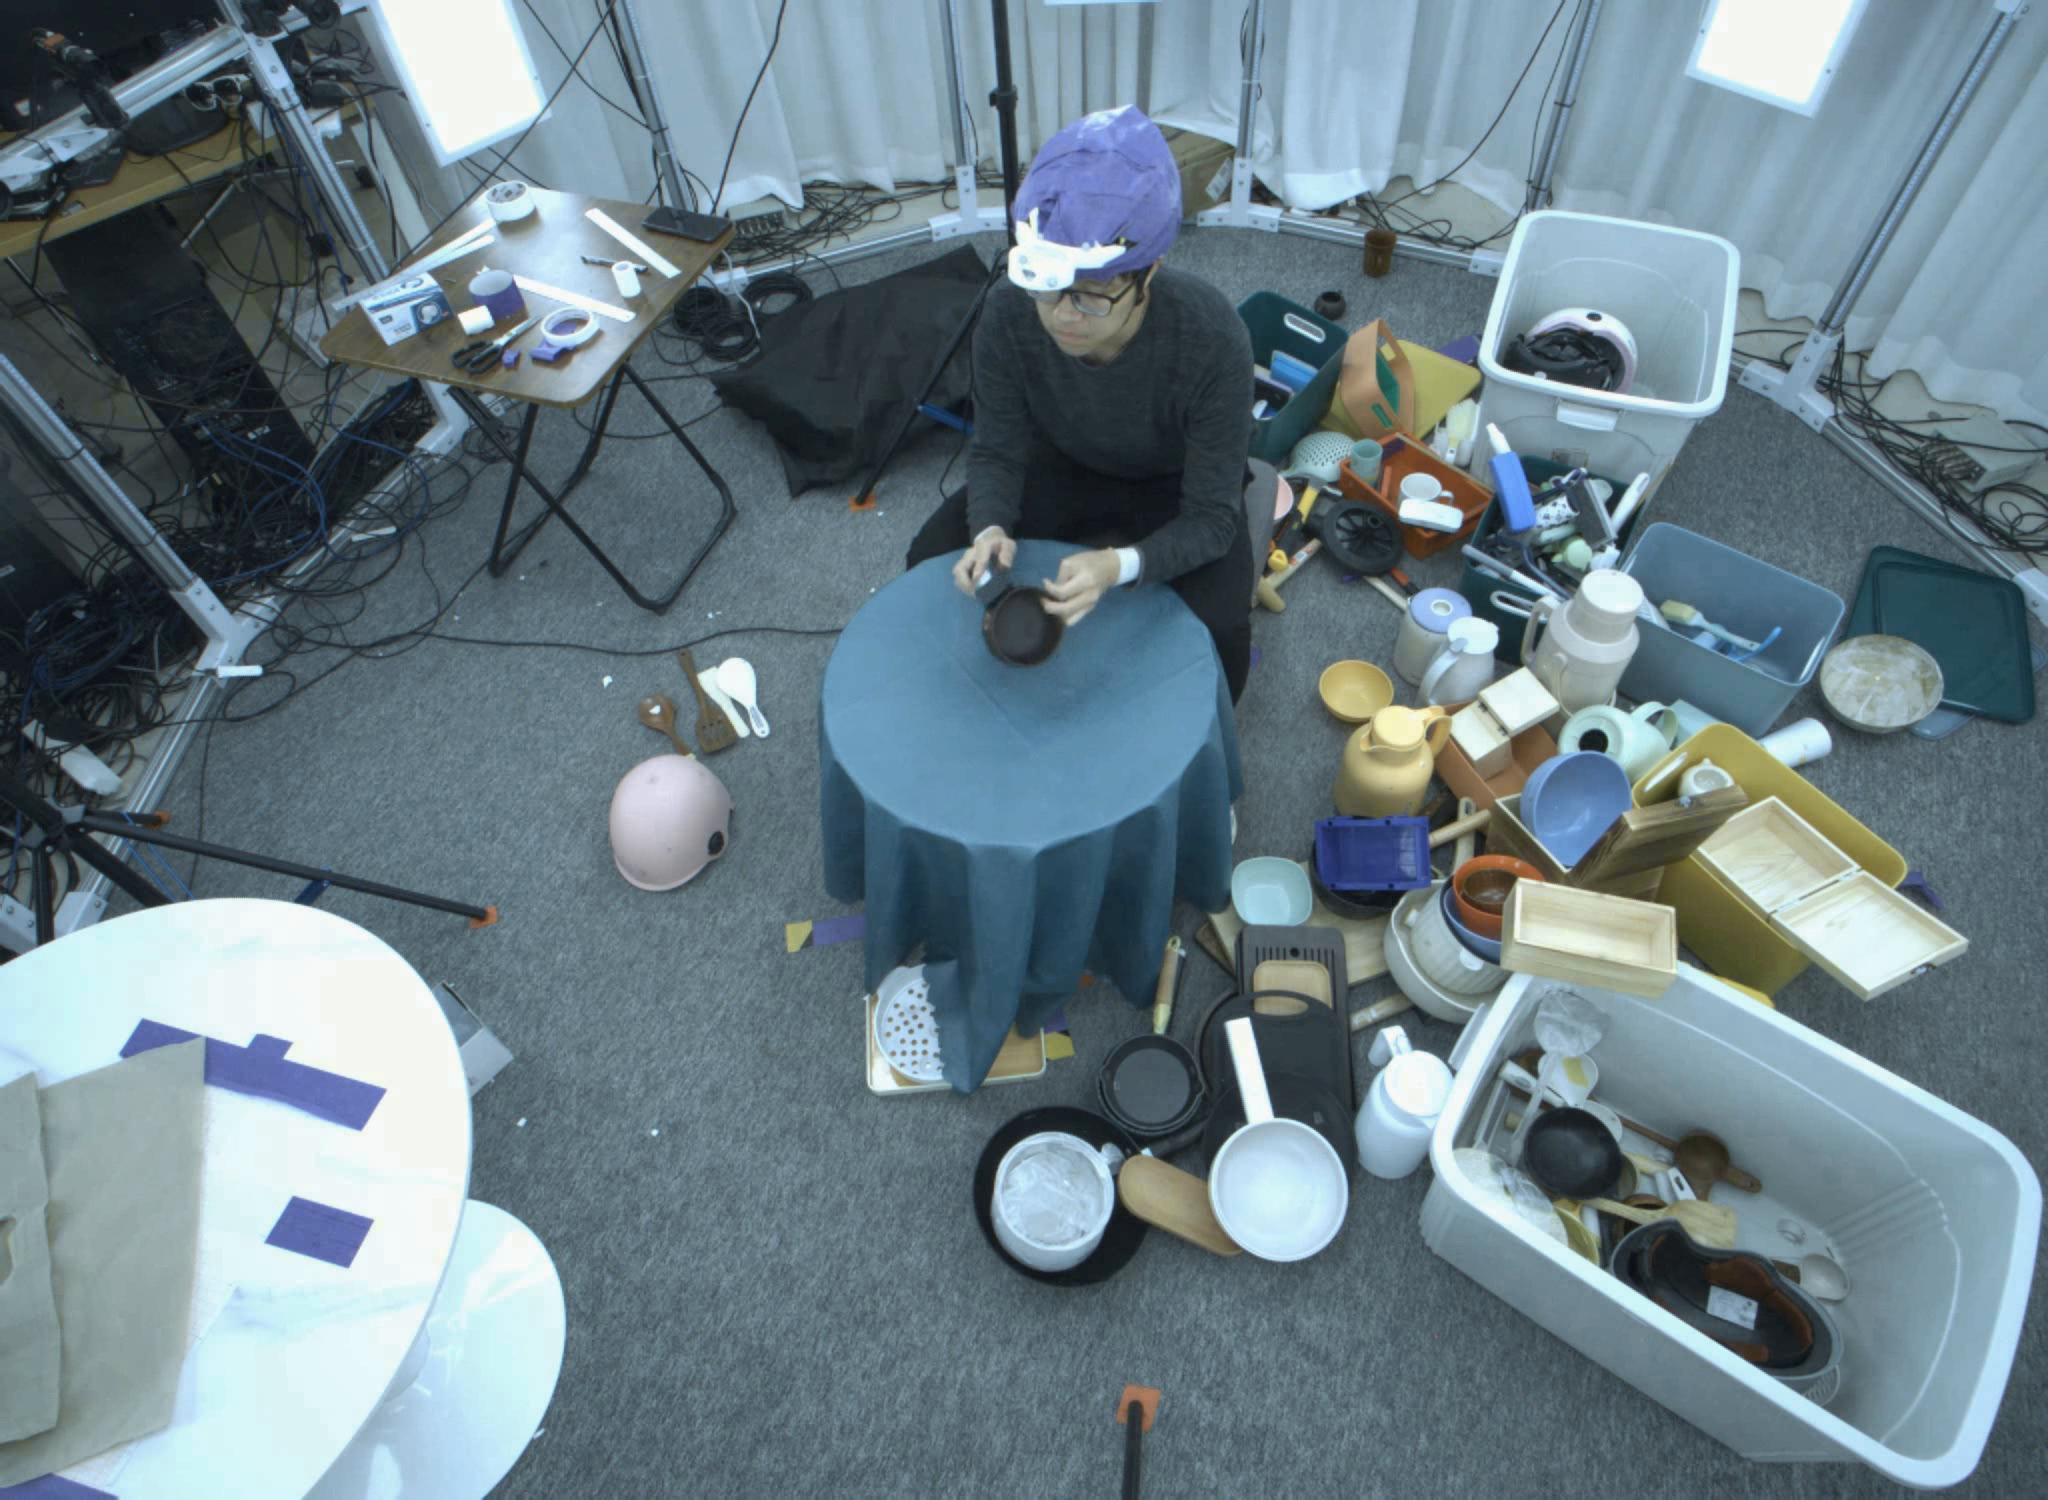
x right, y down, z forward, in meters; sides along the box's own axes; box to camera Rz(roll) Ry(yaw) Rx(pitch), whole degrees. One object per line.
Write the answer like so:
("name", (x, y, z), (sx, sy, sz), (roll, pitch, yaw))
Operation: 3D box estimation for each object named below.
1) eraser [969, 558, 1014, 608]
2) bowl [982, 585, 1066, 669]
("eraser", (-0.048, -0.241, 1.759), (0.053, 0.031, 0.124), (-38, 20, 6))
("bowl", (-0.007, -0.176, 1.761), (0.119, 0.119, 0.068), (-34, 19, -19))
